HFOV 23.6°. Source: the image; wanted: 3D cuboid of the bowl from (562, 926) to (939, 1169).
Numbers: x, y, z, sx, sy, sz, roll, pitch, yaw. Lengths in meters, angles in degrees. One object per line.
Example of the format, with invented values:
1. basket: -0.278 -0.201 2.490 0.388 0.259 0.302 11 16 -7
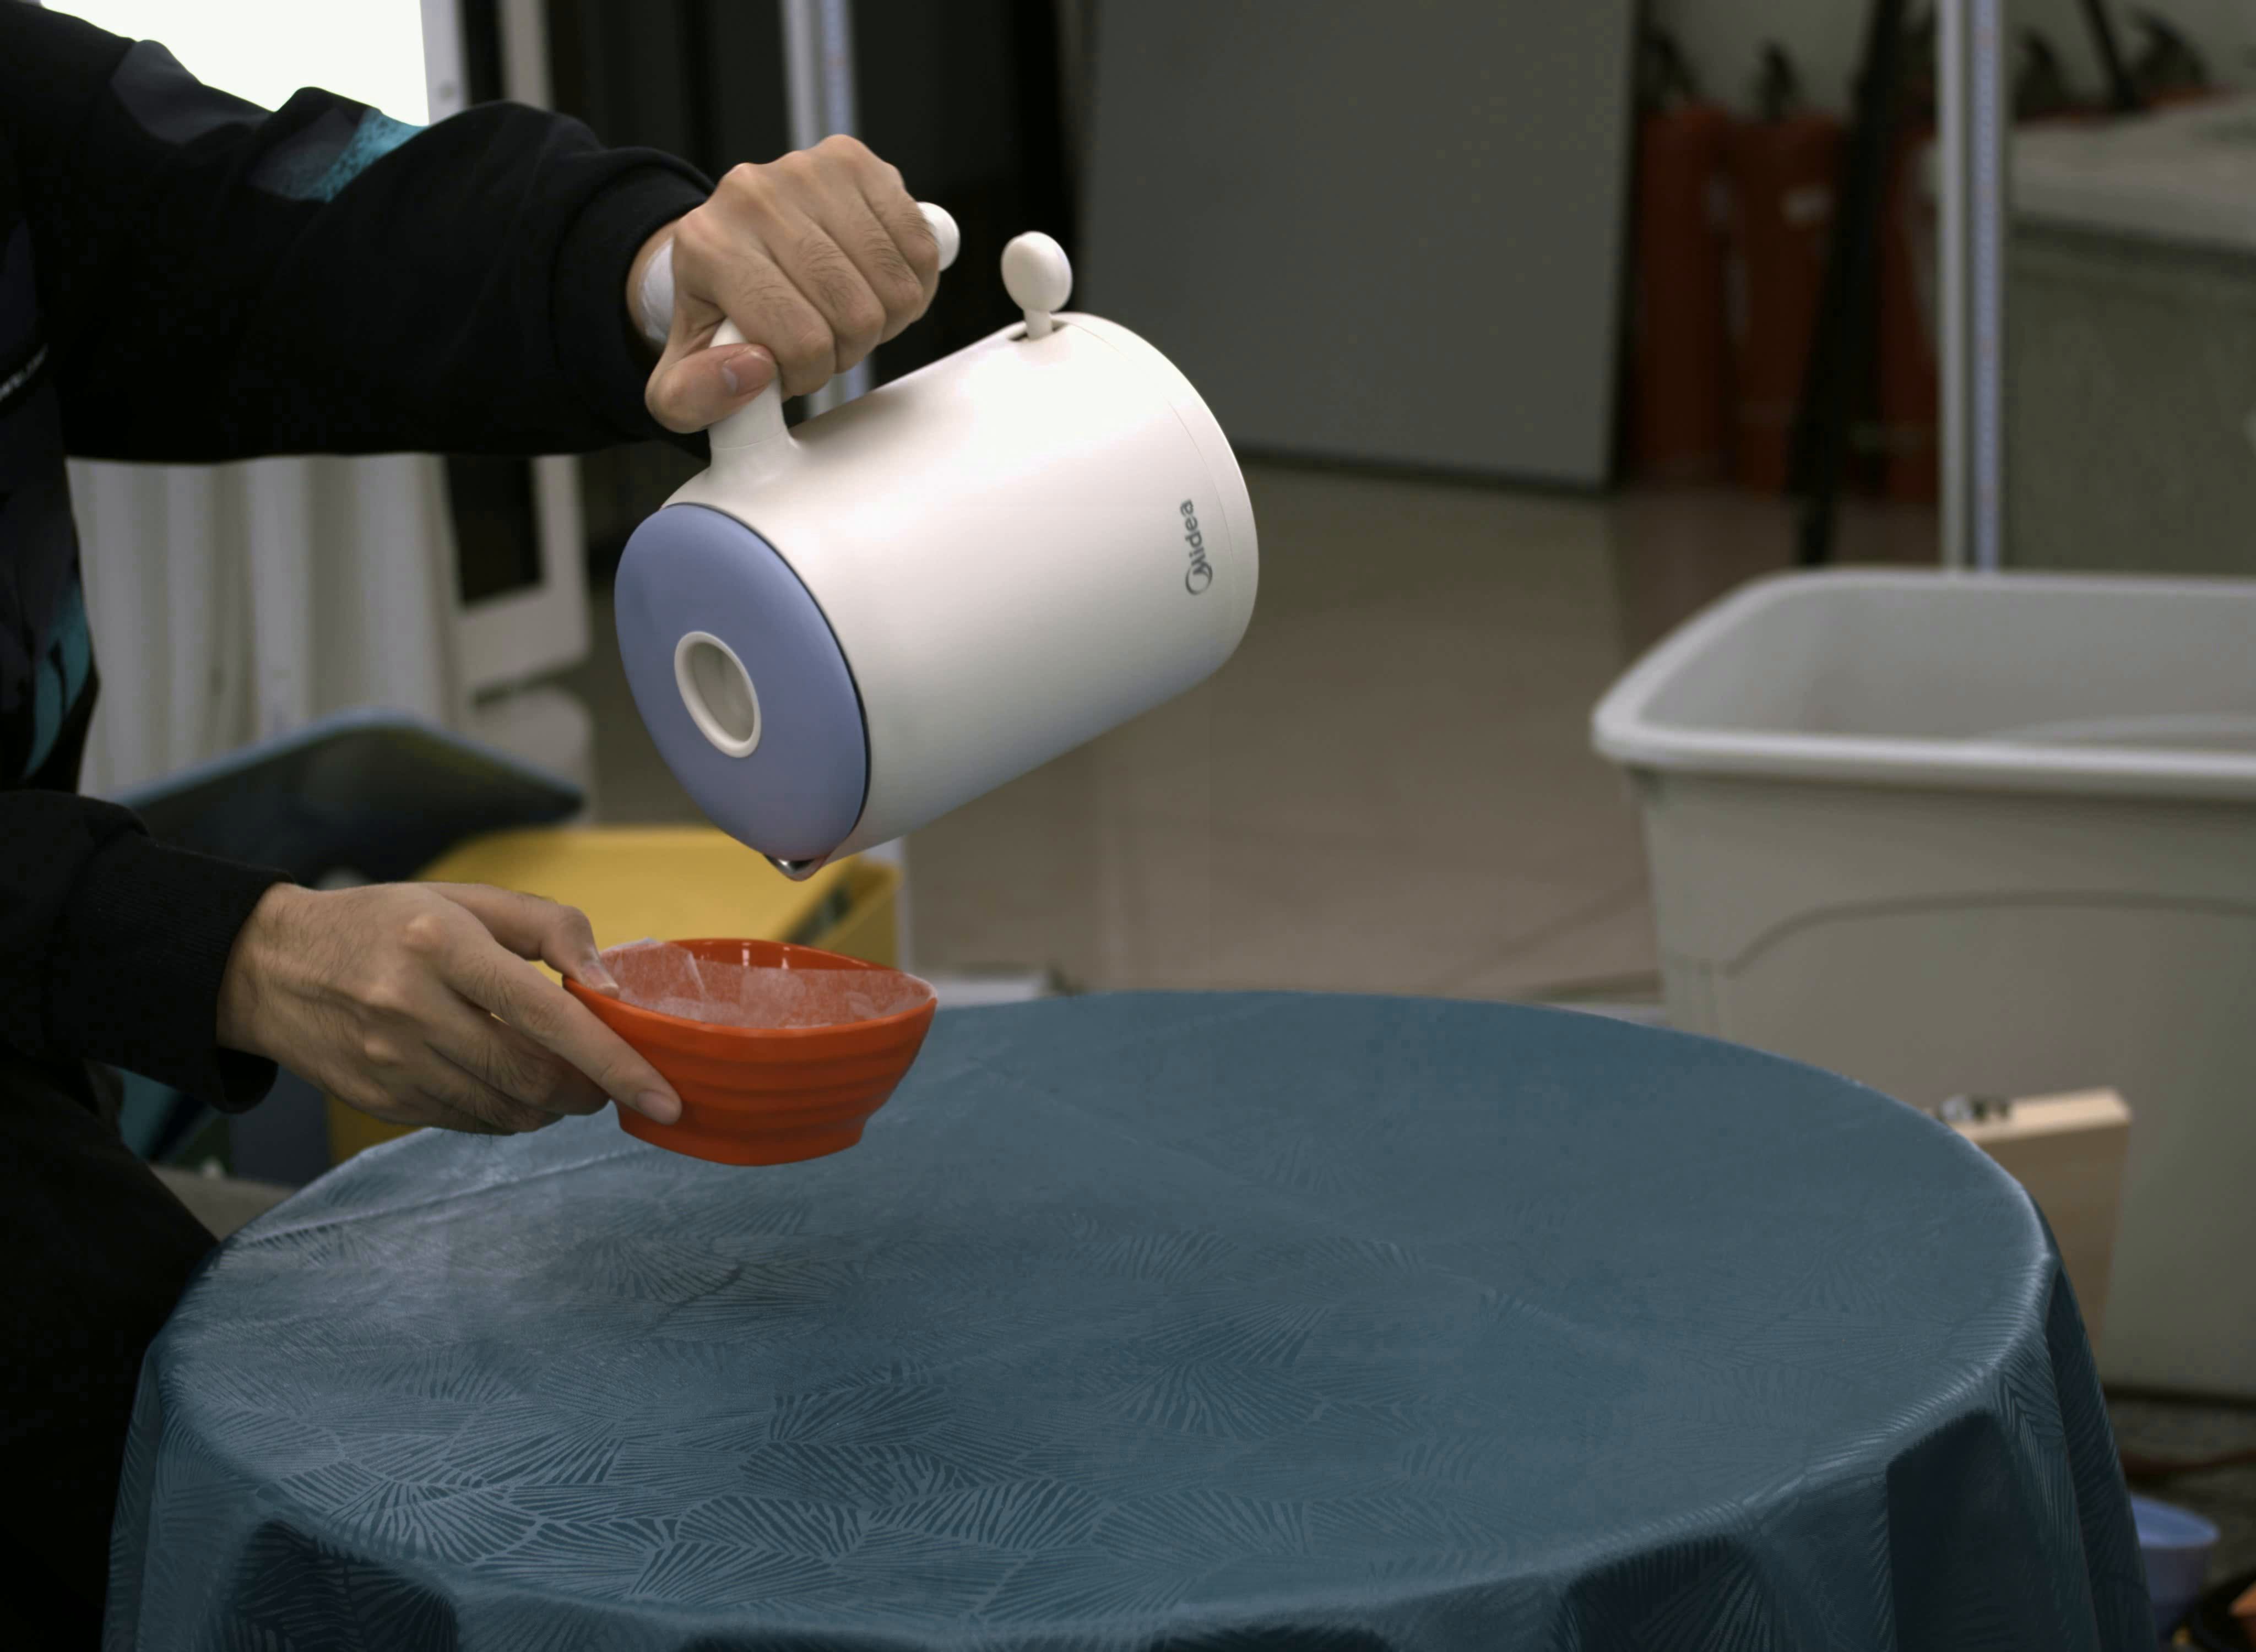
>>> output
1. bowl: -0.119 0.071 1.690 0.117 0.052 0.119 4 14 -2

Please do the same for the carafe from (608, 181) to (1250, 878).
1. carafe: -0.067 -0.101 1.696 0.179 0.192 0.133 -25 21 -35
